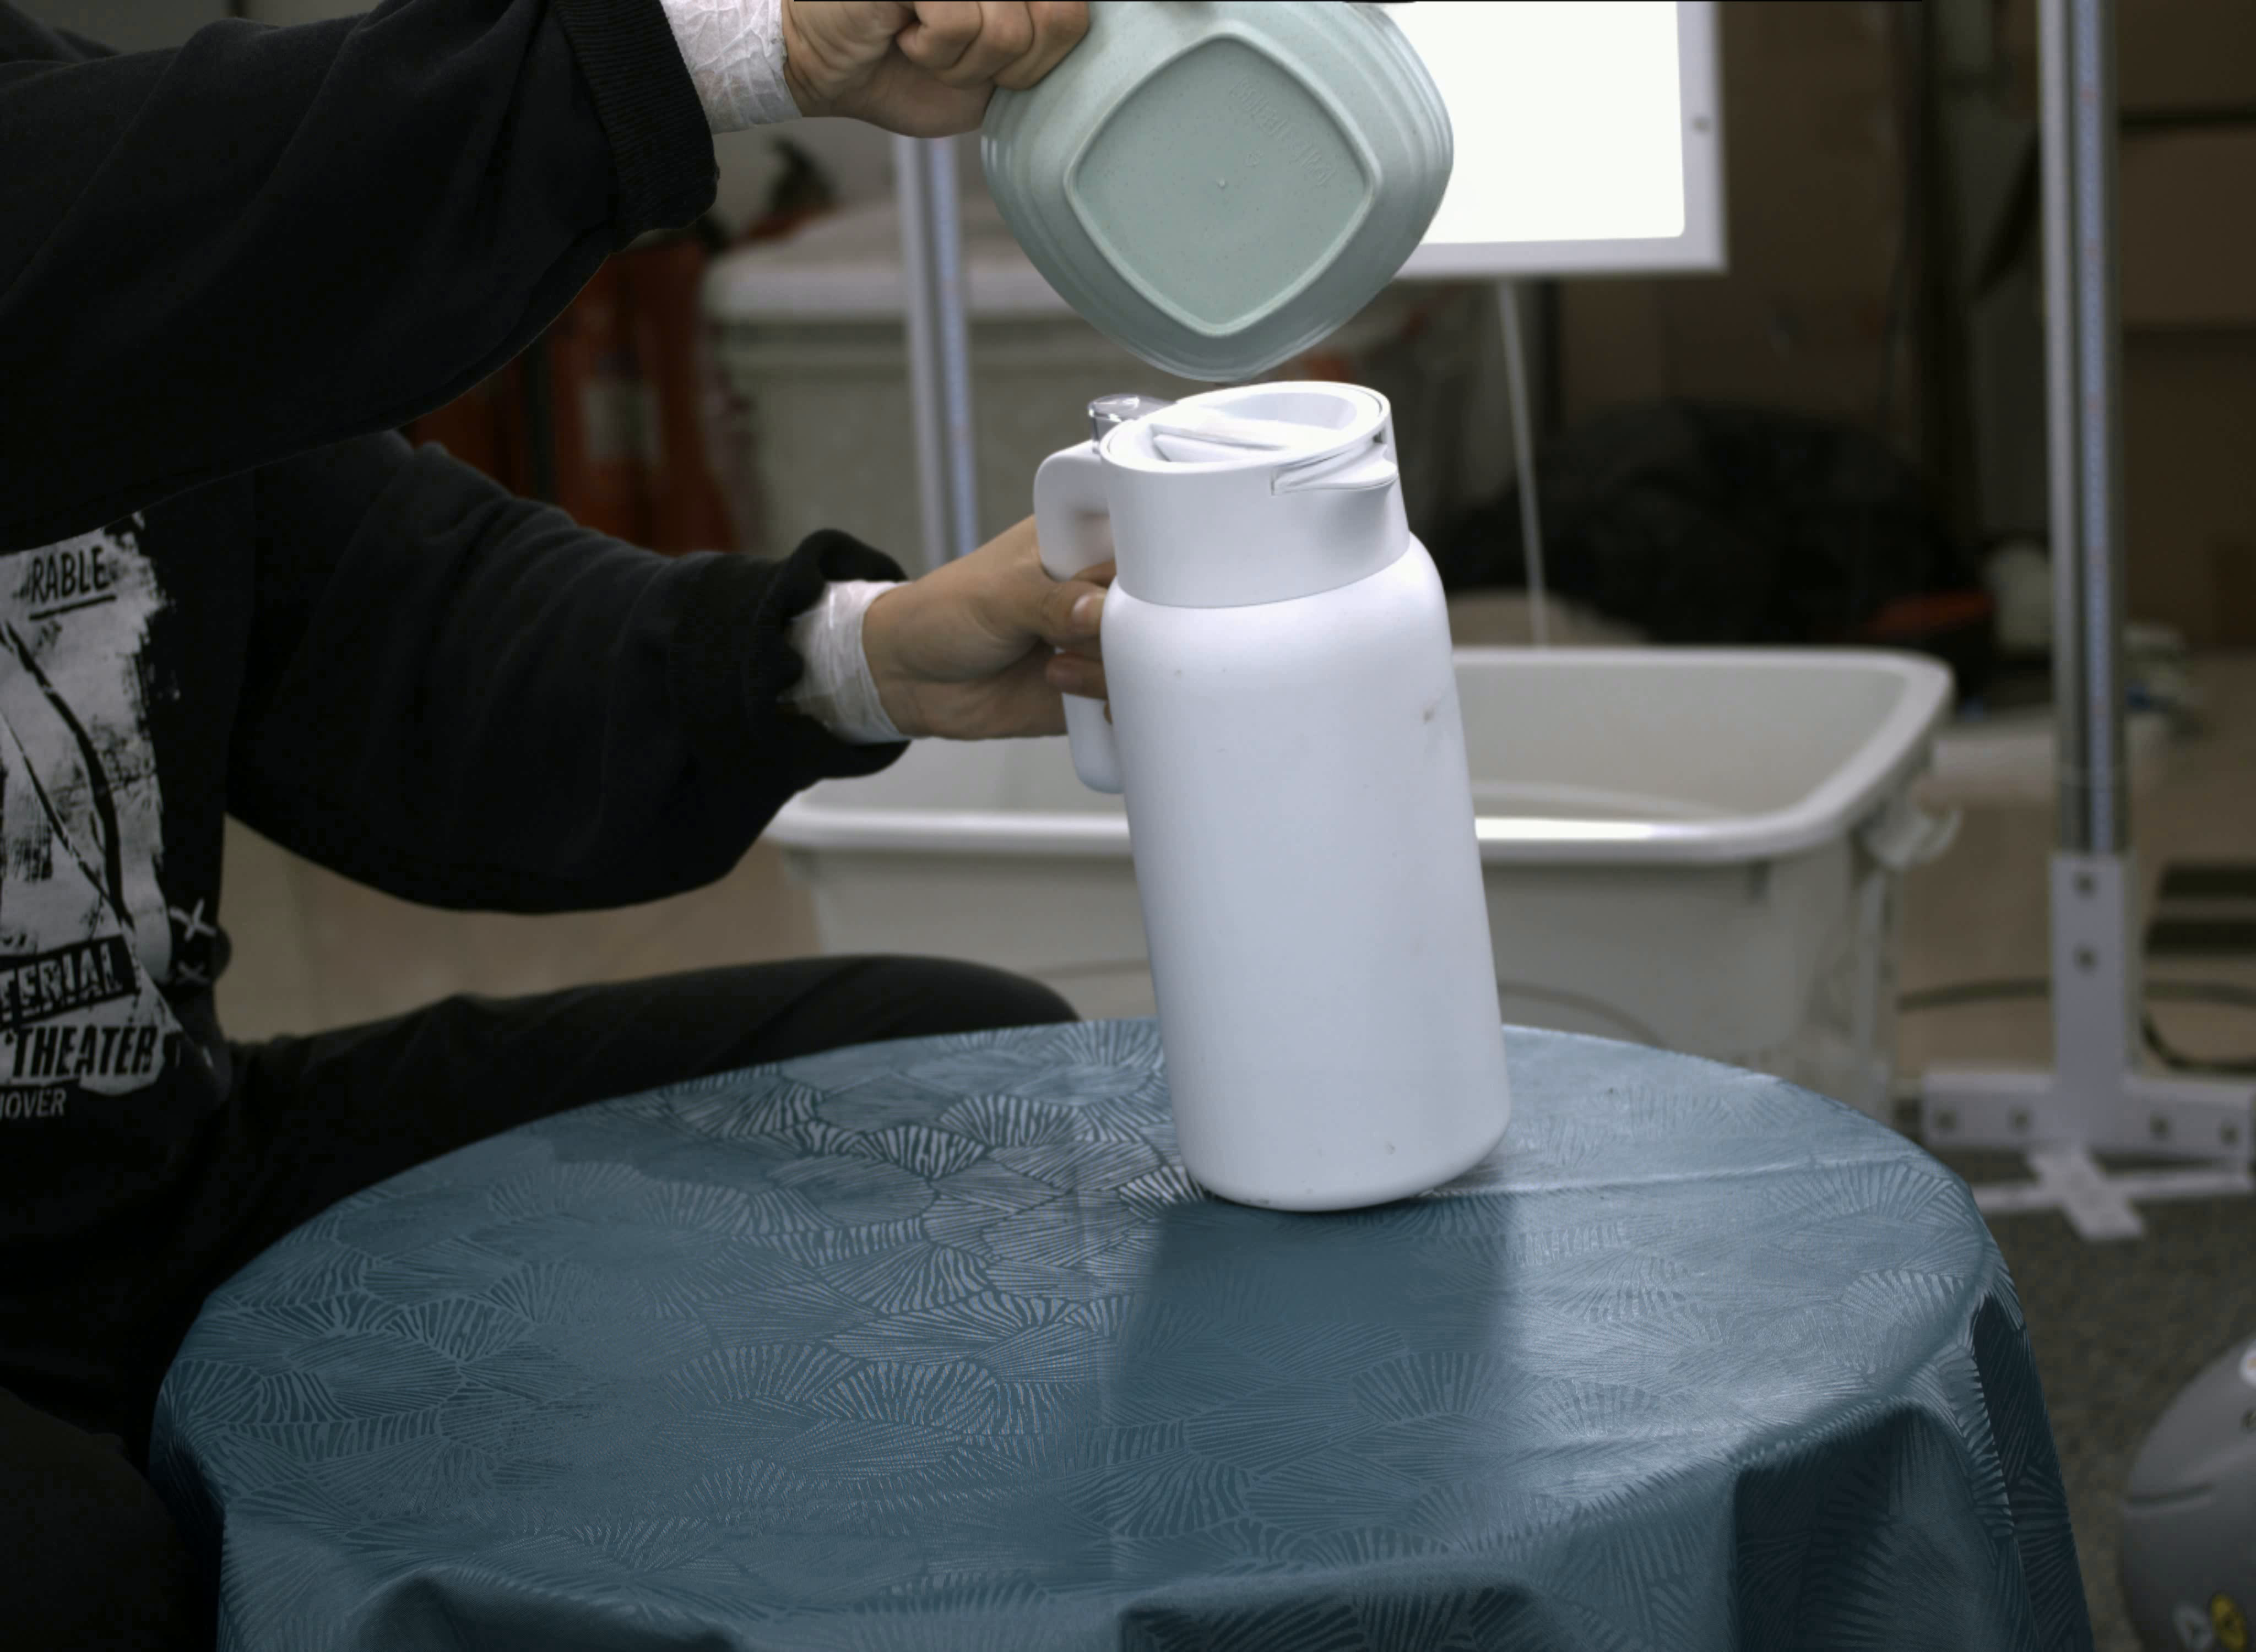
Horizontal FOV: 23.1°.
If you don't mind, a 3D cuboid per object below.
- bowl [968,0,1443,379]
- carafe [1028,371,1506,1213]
[{"bbox_3d":[0.026,-0.207,1.720,0.151,0.152,0.058,-4,19,2],"label":"bowl"},{"bbox_3d":[0.044,-0.013,1.870,0.121,0.269,0.176,-26,26,-35],"label":"carafe"}]
